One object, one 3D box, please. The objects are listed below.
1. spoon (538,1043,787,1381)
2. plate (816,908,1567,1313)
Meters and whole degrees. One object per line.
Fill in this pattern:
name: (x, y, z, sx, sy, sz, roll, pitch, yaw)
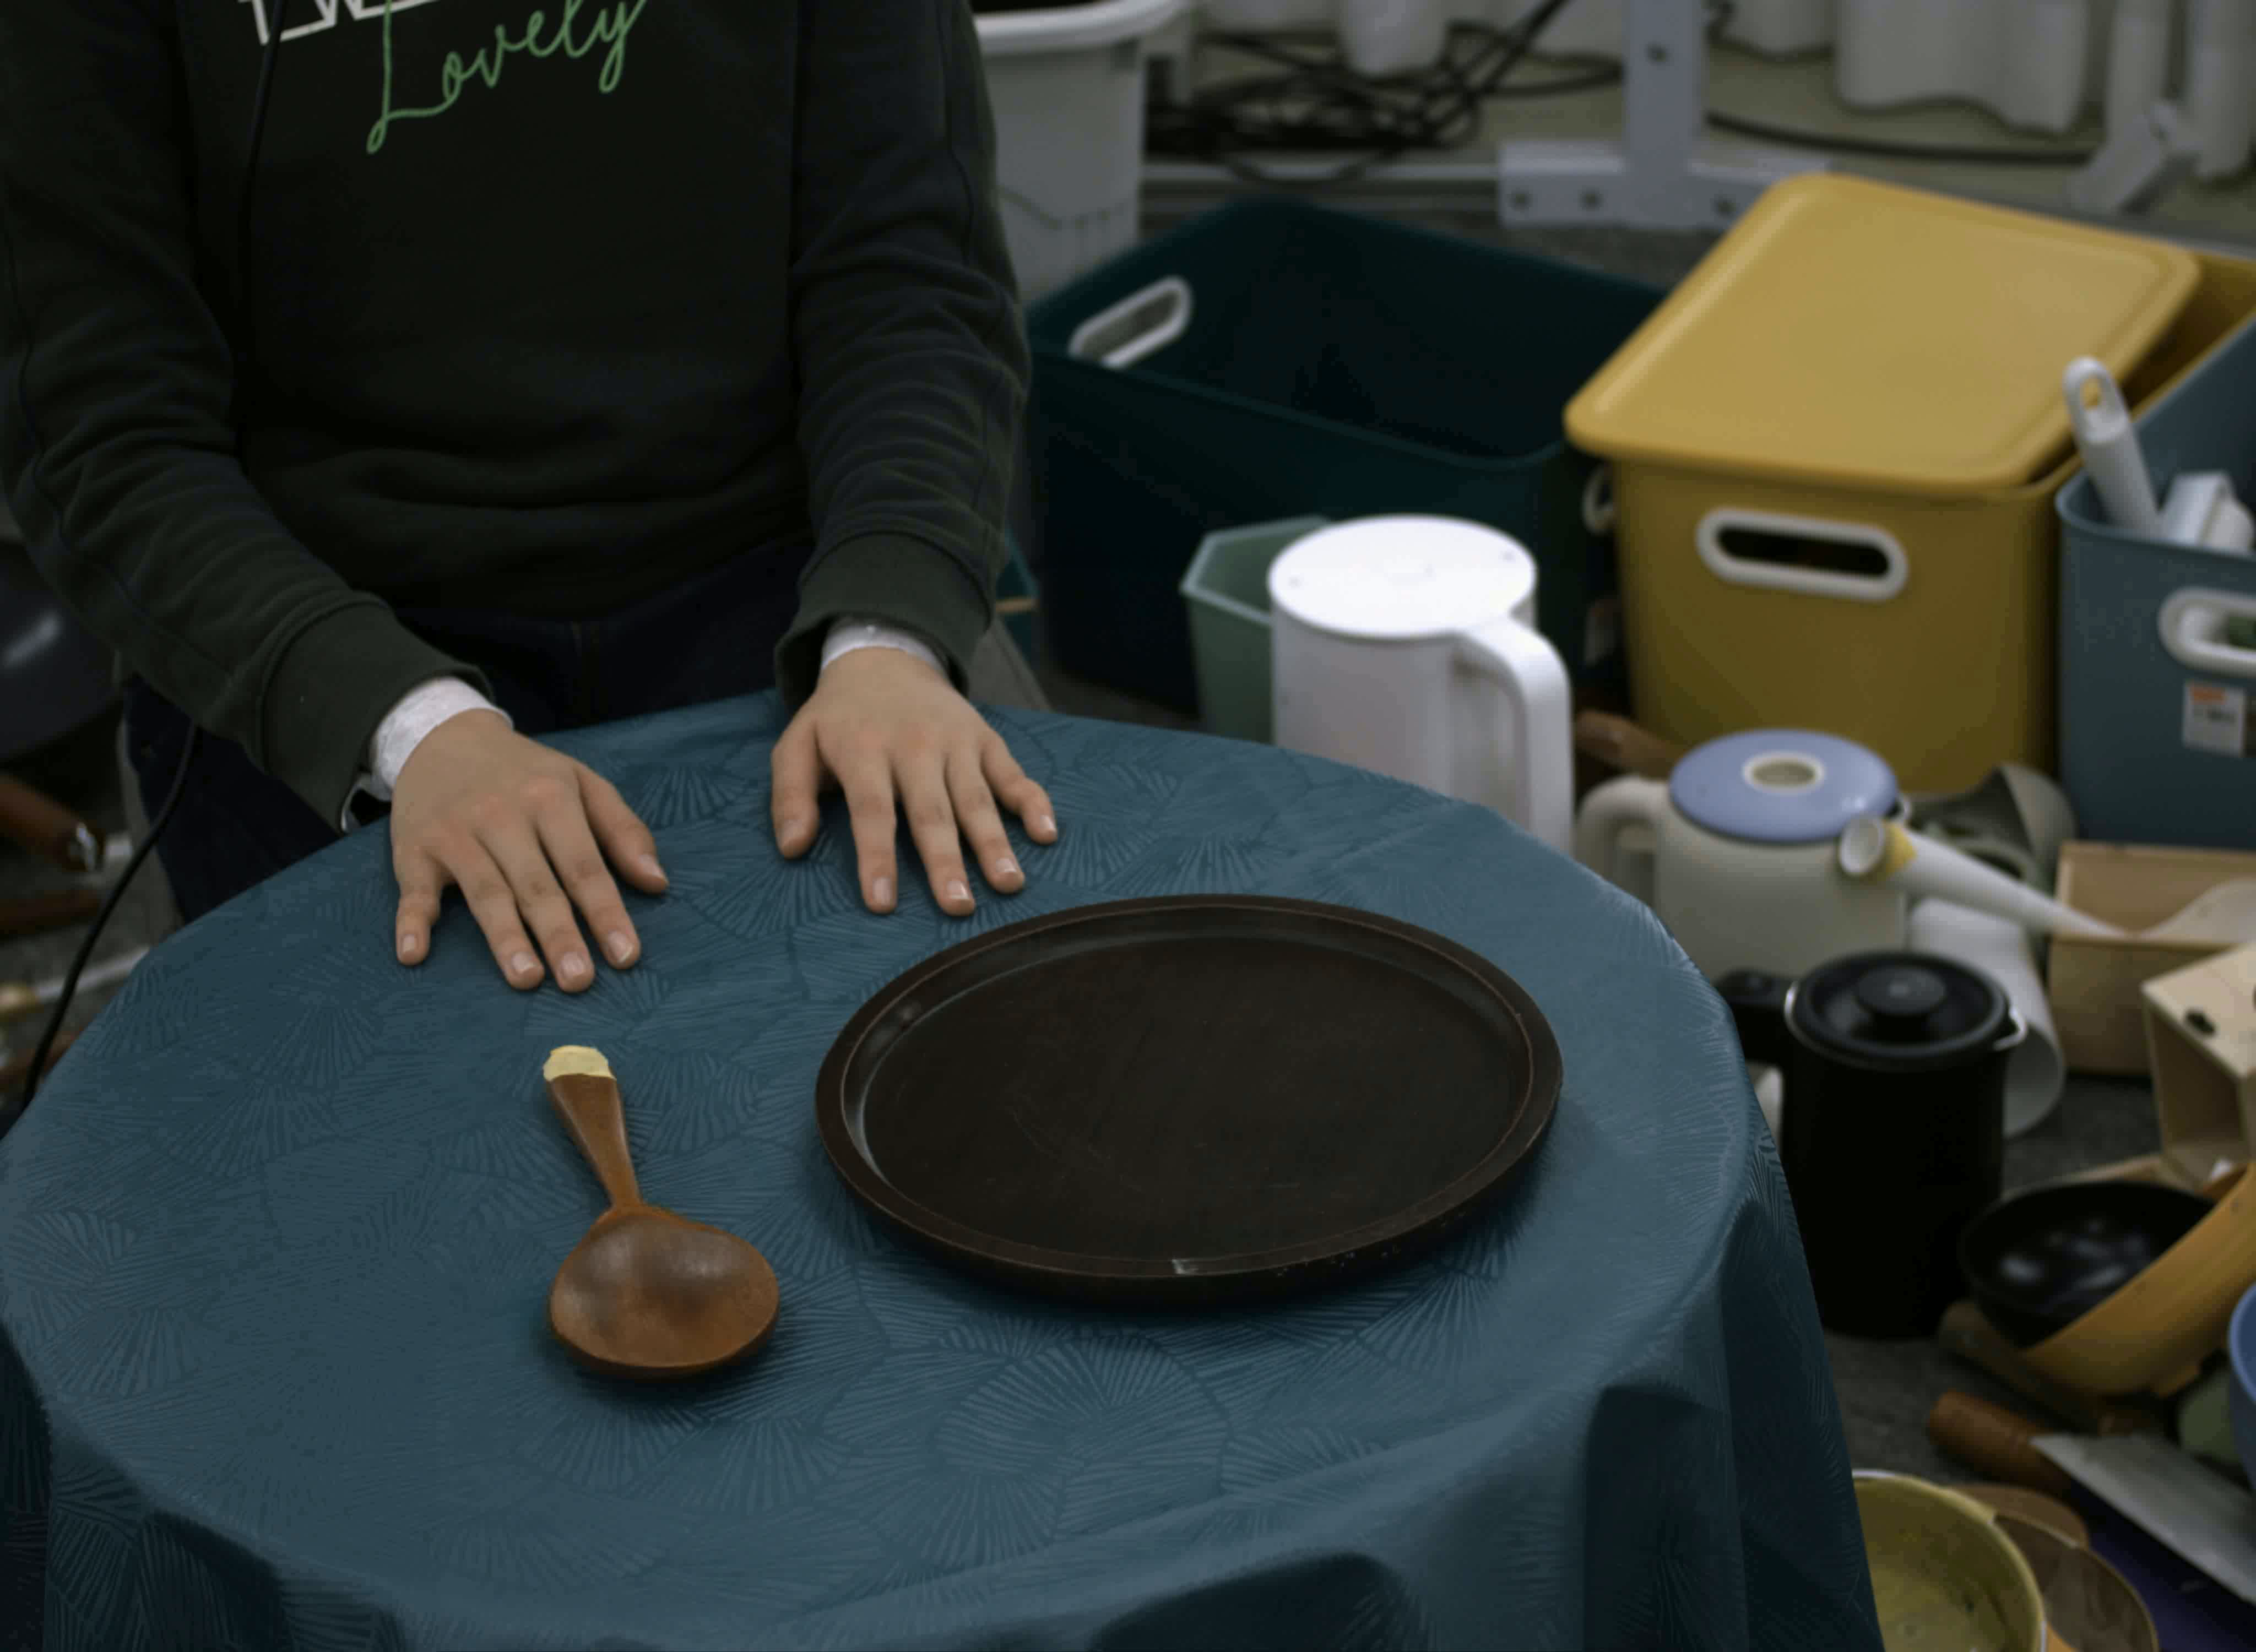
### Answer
spoon: (-0.163, 0.127, 1.848, 0.075, 0.017, 0.218, -10, 28, -13)
plate: (0.021, 0.093, 1.891, 0.253, 0.029, 0.259, -1, 28, 1)
